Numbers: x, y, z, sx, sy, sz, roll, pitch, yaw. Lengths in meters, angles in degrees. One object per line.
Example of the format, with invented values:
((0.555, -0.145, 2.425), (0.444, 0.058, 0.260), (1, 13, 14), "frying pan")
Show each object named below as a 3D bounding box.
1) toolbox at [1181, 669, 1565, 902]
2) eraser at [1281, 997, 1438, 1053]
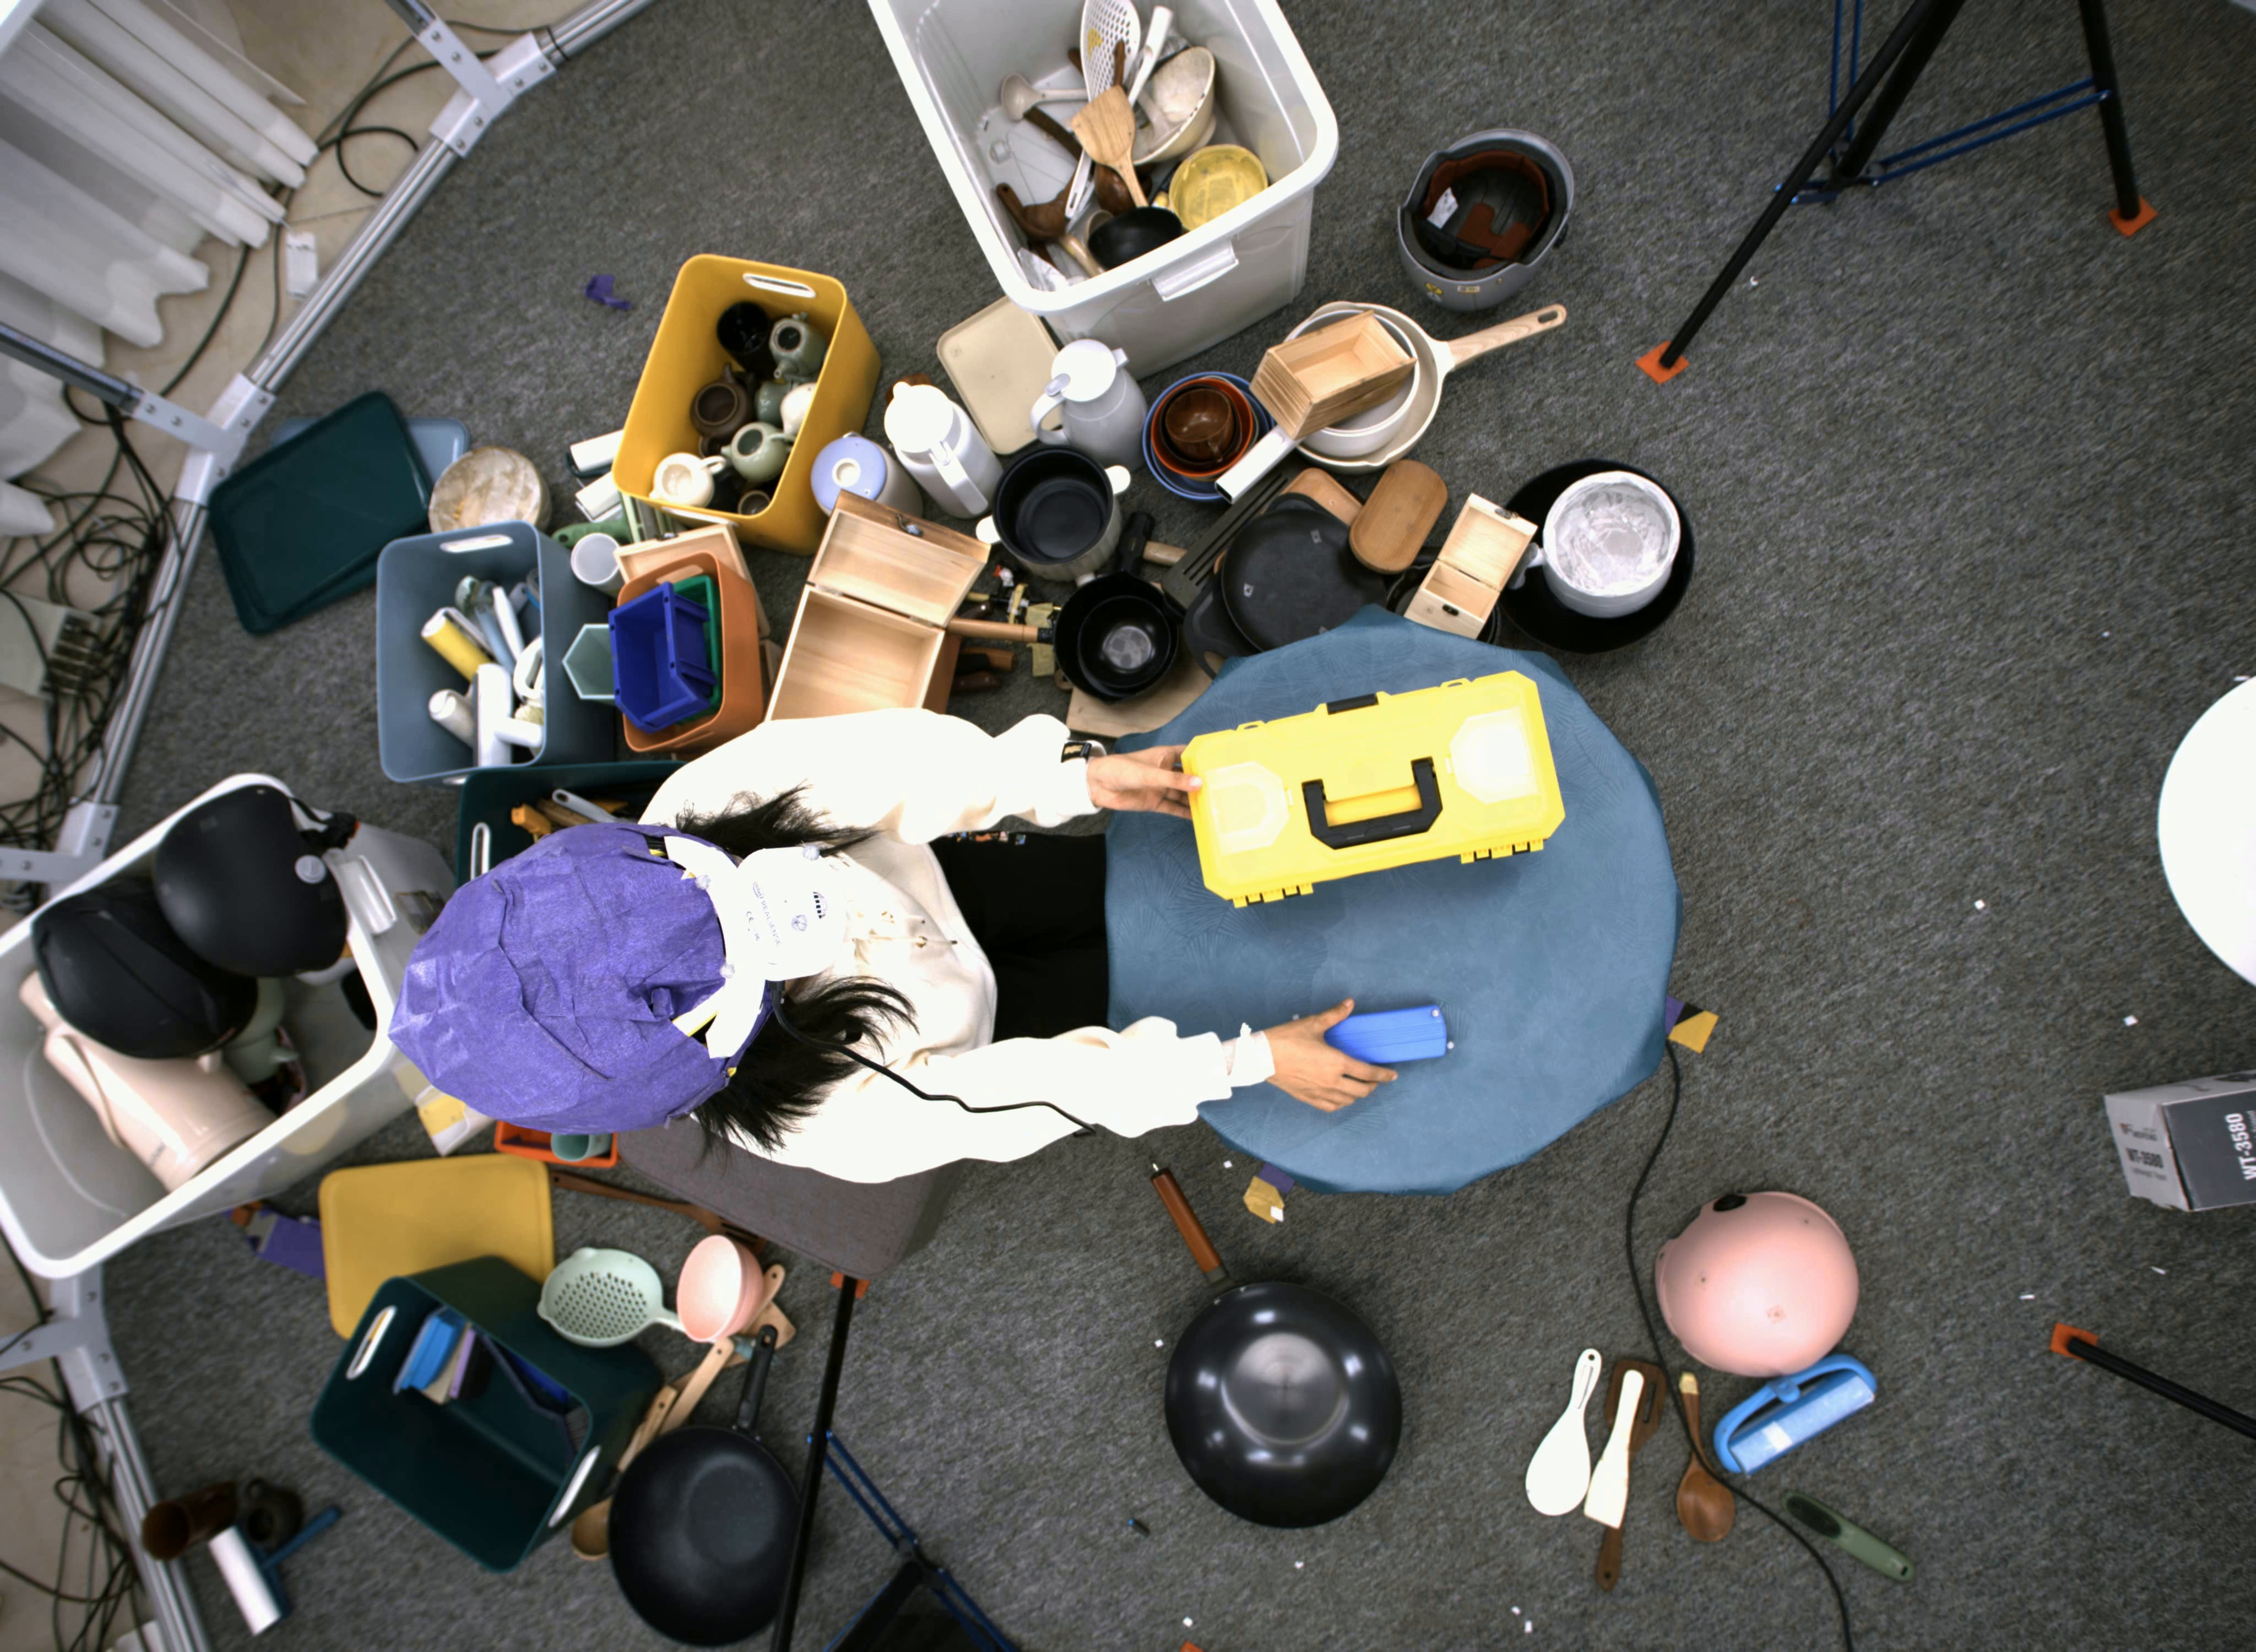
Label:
((0.241, -0.036, 1.384), (0.353, 0.173, 0.180), (-11, 85, 9), "toolbox")
((0.239, 0.204, 1.427), (0.163, 0.047, 0.054), (-2, 93, 8), "eraser")
